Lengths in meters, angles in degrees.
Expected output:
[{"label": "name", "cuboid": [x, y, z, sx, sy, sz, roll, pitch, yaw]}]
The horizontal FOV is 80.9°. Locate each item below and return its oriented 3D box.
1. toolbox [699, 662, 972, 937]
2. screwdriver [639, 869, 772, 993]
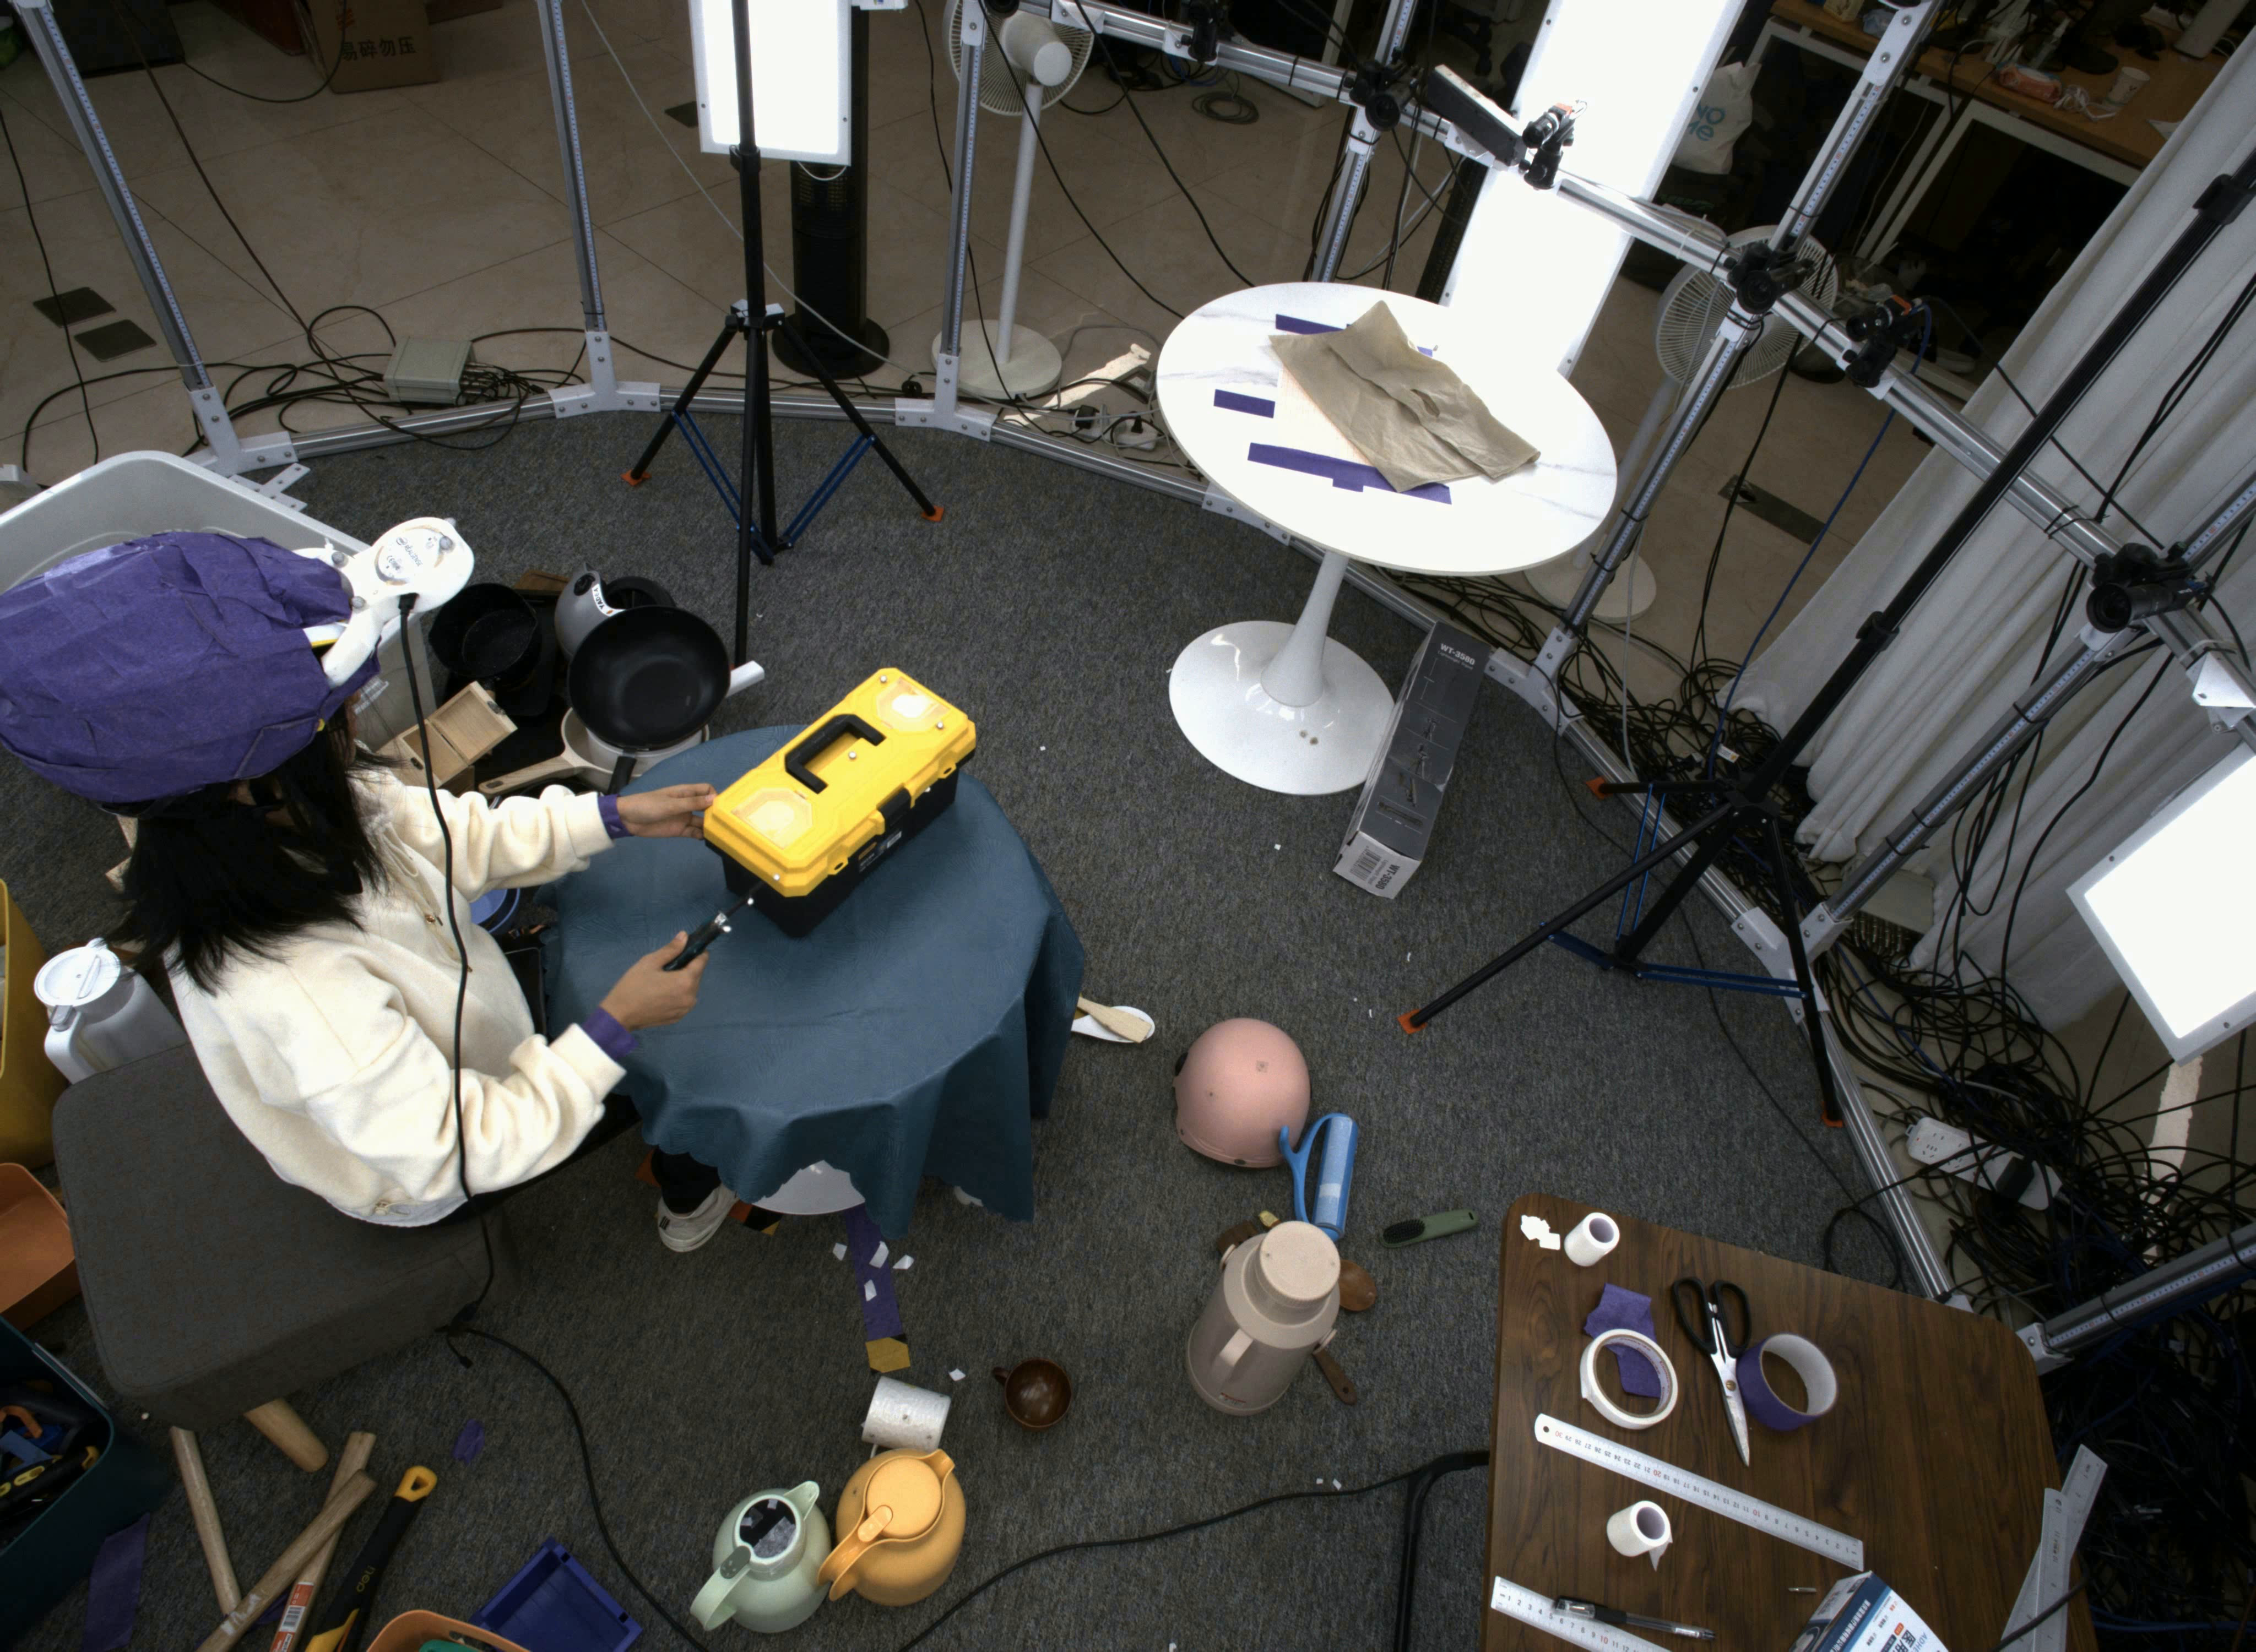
[{"label": "toolbox", "cuboid": [-0.362, -0.035, 1.649, 0.178, 0.176, 0.351, 33, 53, 13]}, {"label": "screwdriver", "cuboid": [-0.467, 0.110, 1.435, 0.033, 0.034, 0.190, 38, 68, 17]}]
